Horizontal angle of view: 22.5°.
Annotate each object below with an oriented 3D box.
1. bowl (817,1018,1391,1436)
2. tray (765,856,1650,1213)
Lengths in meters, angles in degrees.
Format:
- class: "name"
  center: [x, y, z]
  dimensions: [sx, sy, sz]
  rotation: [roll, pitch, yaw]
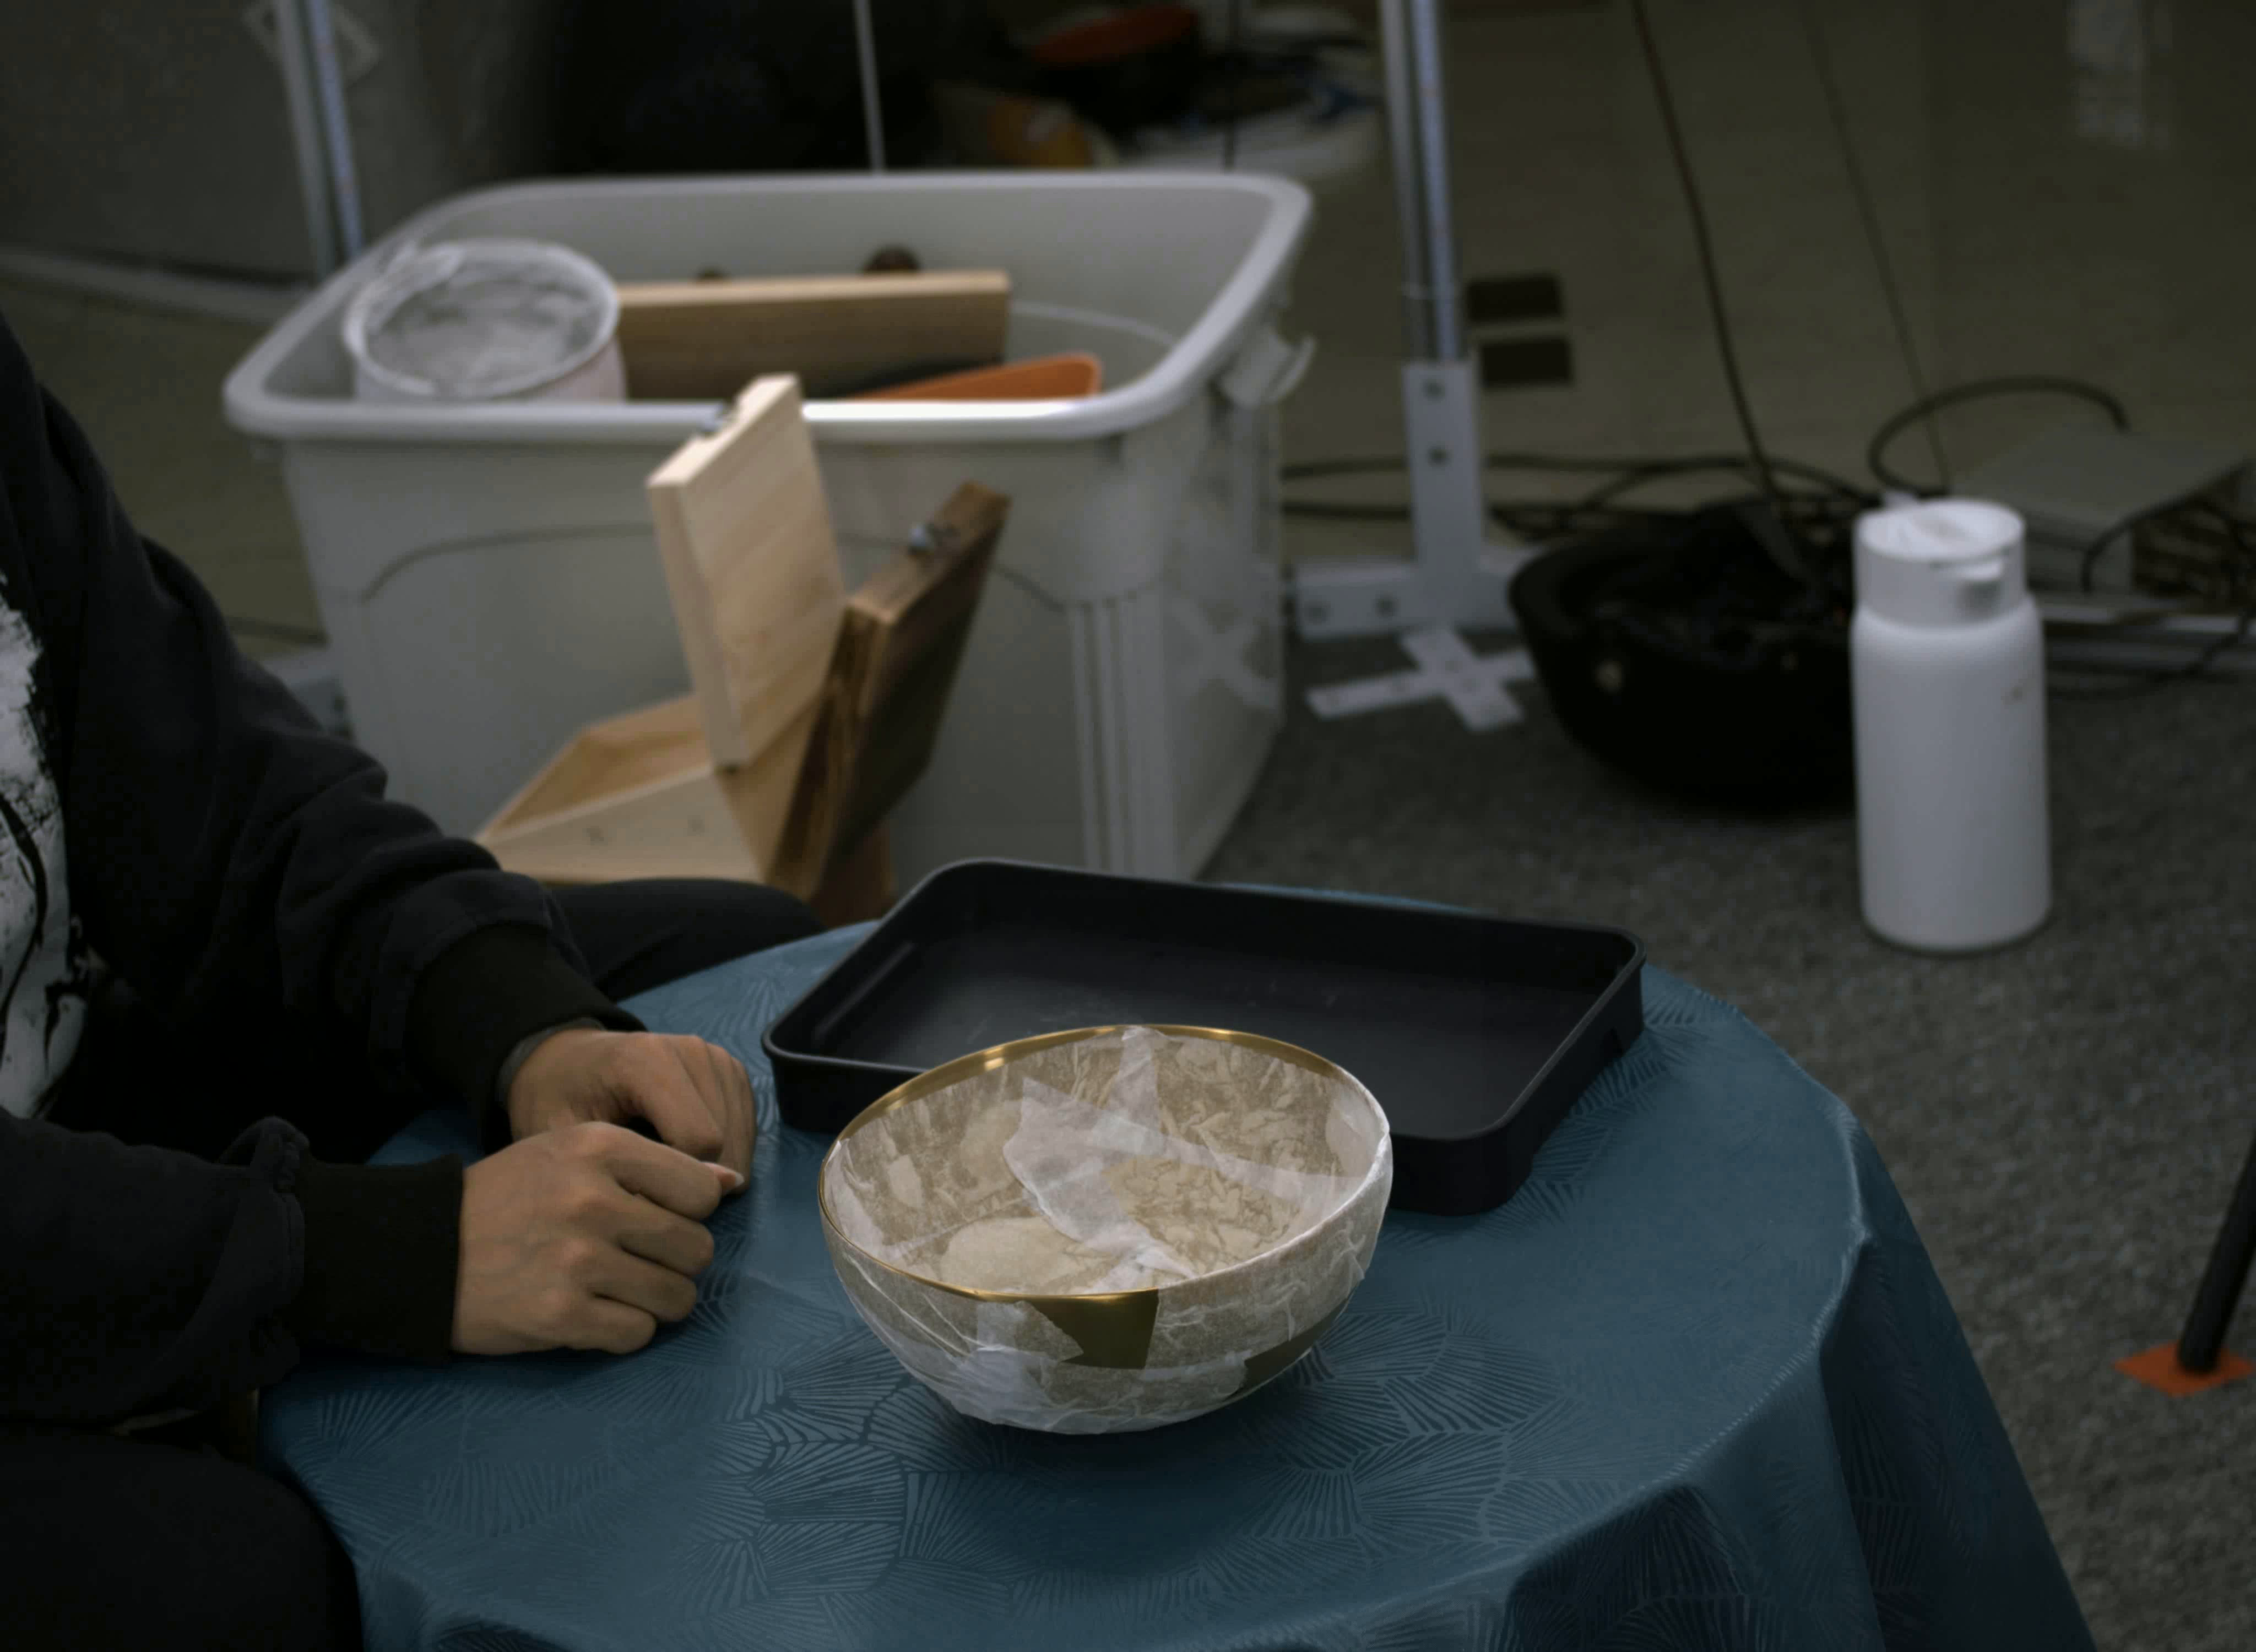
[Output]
- class: "bowl"
  center: [-0.008, 0.154, 2.012]
  dimensions: [0.214, 0.096, 0.211]
  rotation: [-5, 26, 3]
- class: "tray"
  center: [0.032, 0.079, 2.227]
  dimensions: [0.317, 0.037, 0.182]
  rotation: [6, 29, 27]
